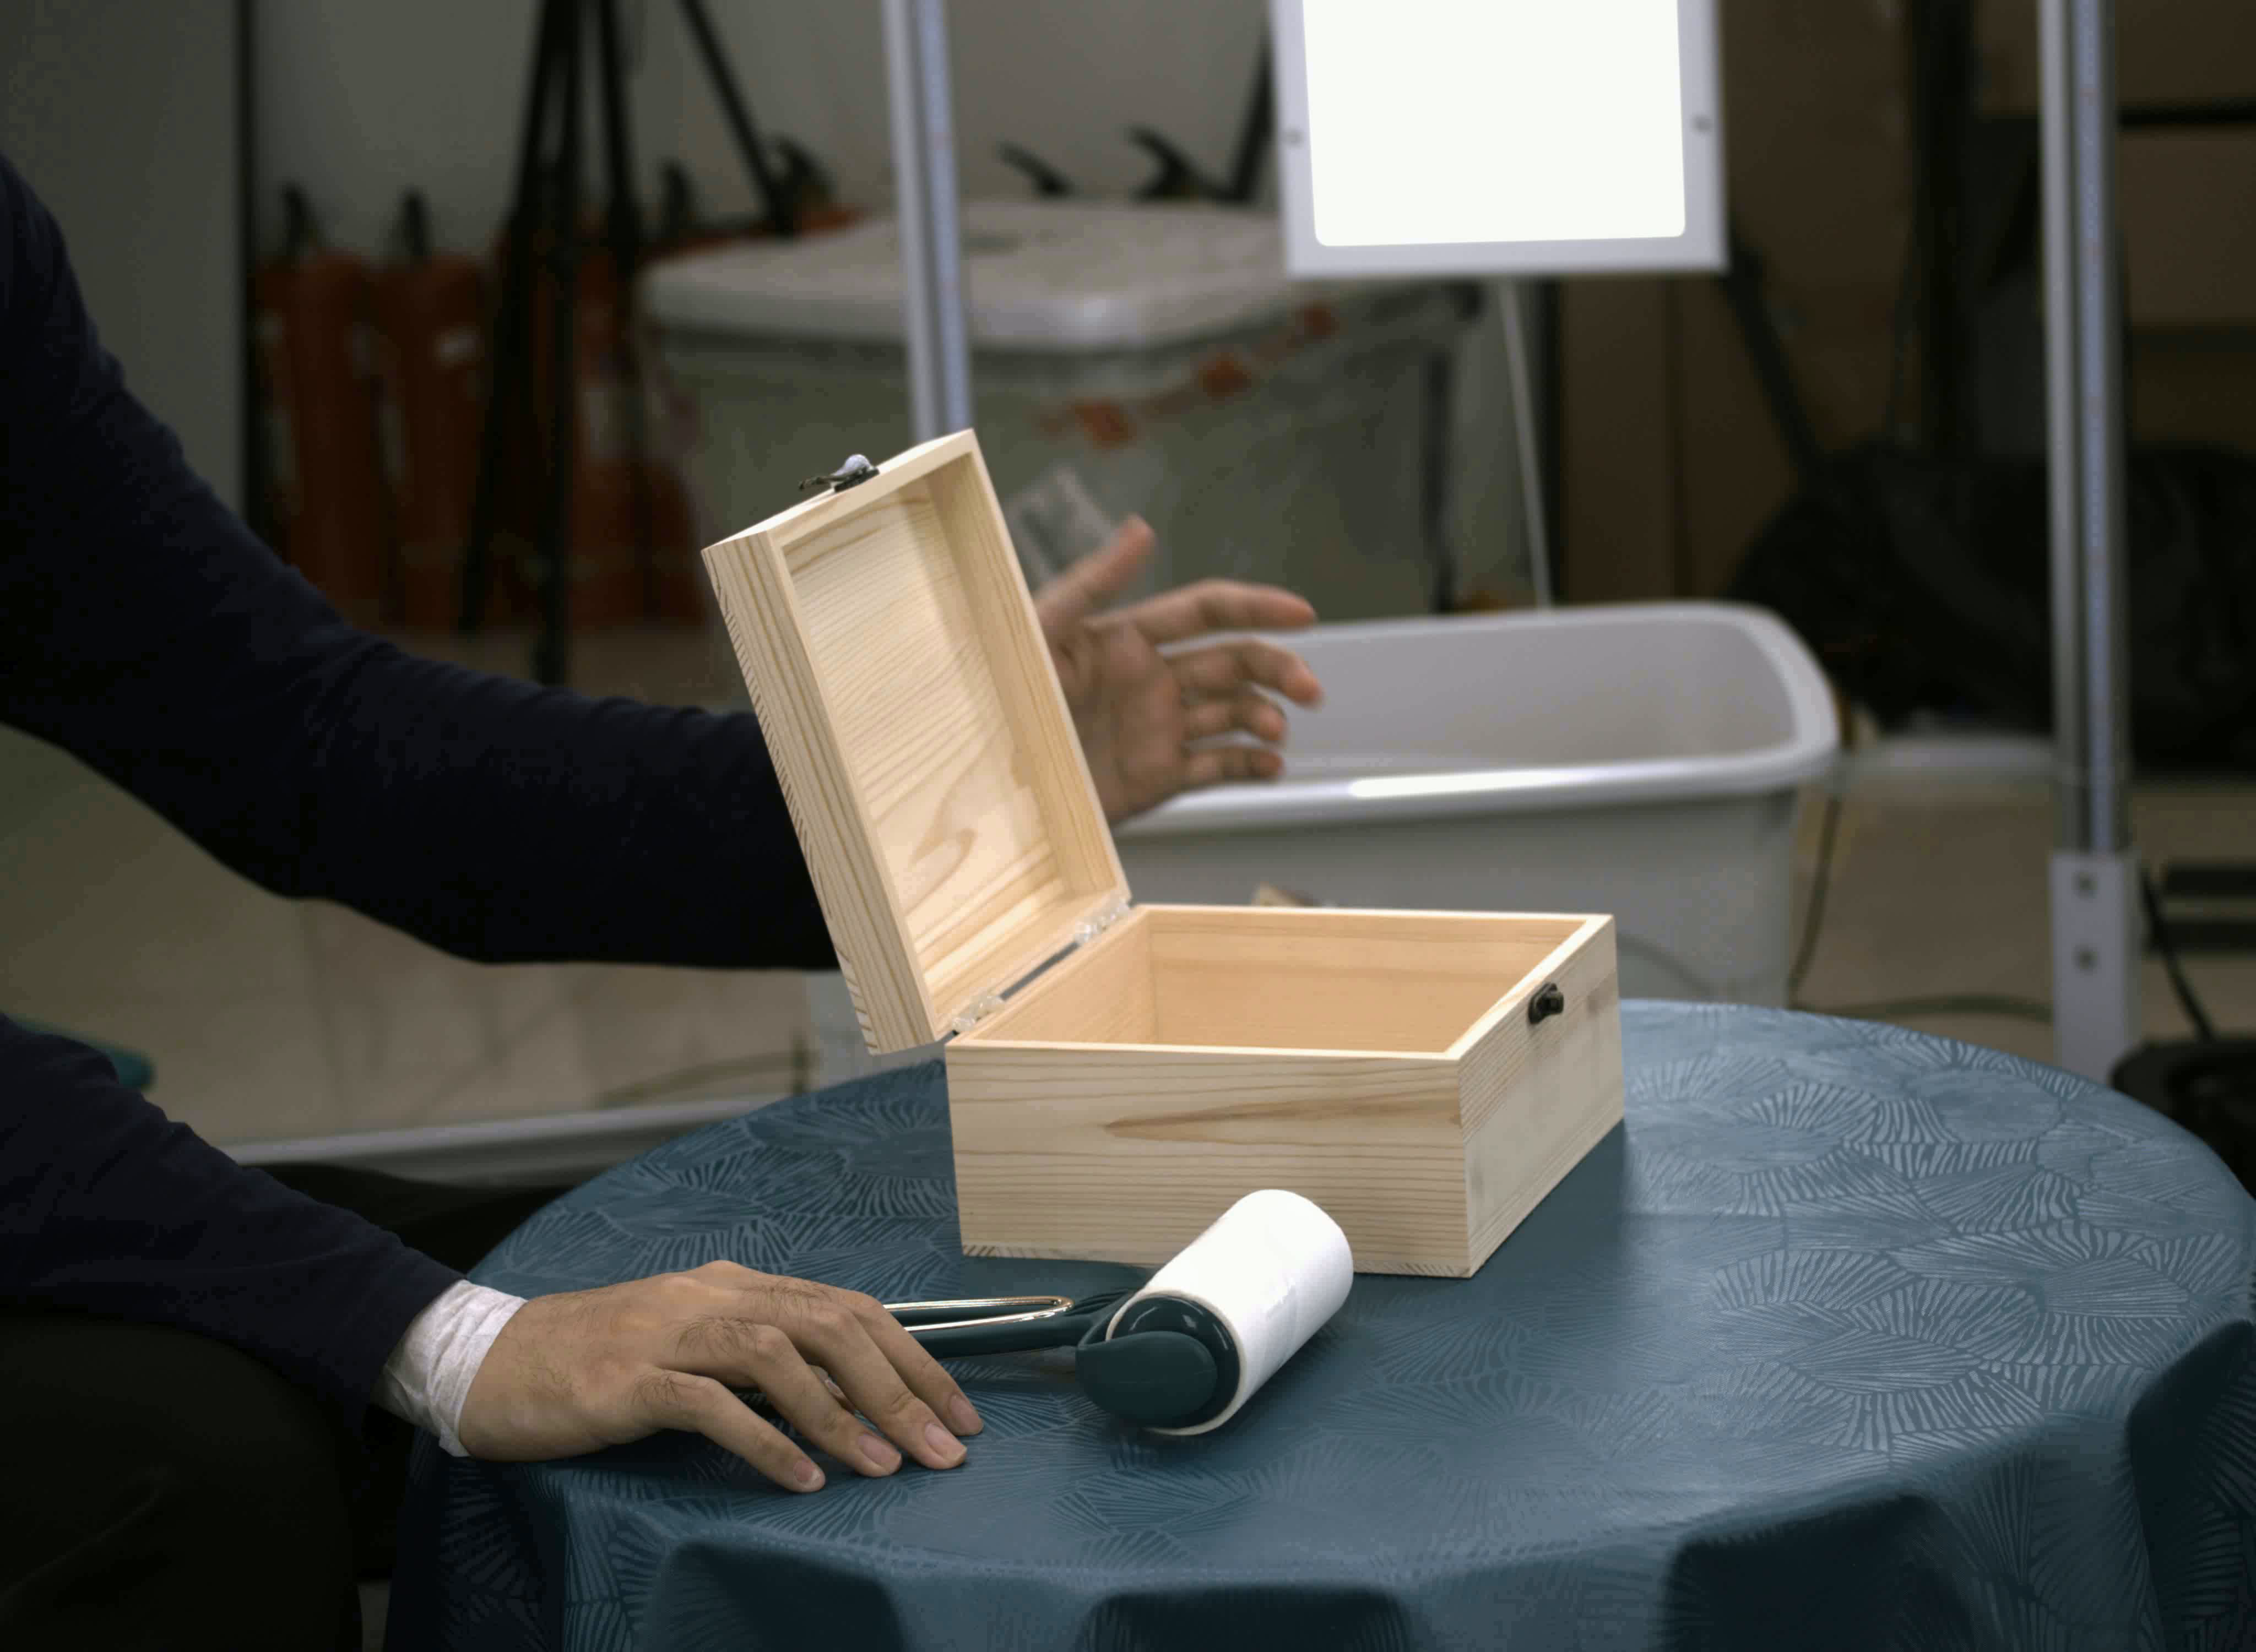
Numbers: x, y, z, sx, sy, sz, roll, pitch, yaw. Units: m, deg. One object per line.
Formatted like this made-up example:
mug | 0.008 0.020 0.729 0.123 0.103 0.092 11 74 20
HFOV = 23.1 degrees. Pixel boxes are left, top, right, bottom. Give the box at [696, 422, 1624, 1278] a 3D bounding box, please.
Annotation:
box | 0.020 0.001 1.879 0.269 0.254 0.178 1 16 23

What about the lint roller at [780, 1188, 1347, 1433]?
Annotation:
lint roller | -0.030 0.153 1.726 0.183 0.048 0.132 -4 13 24
